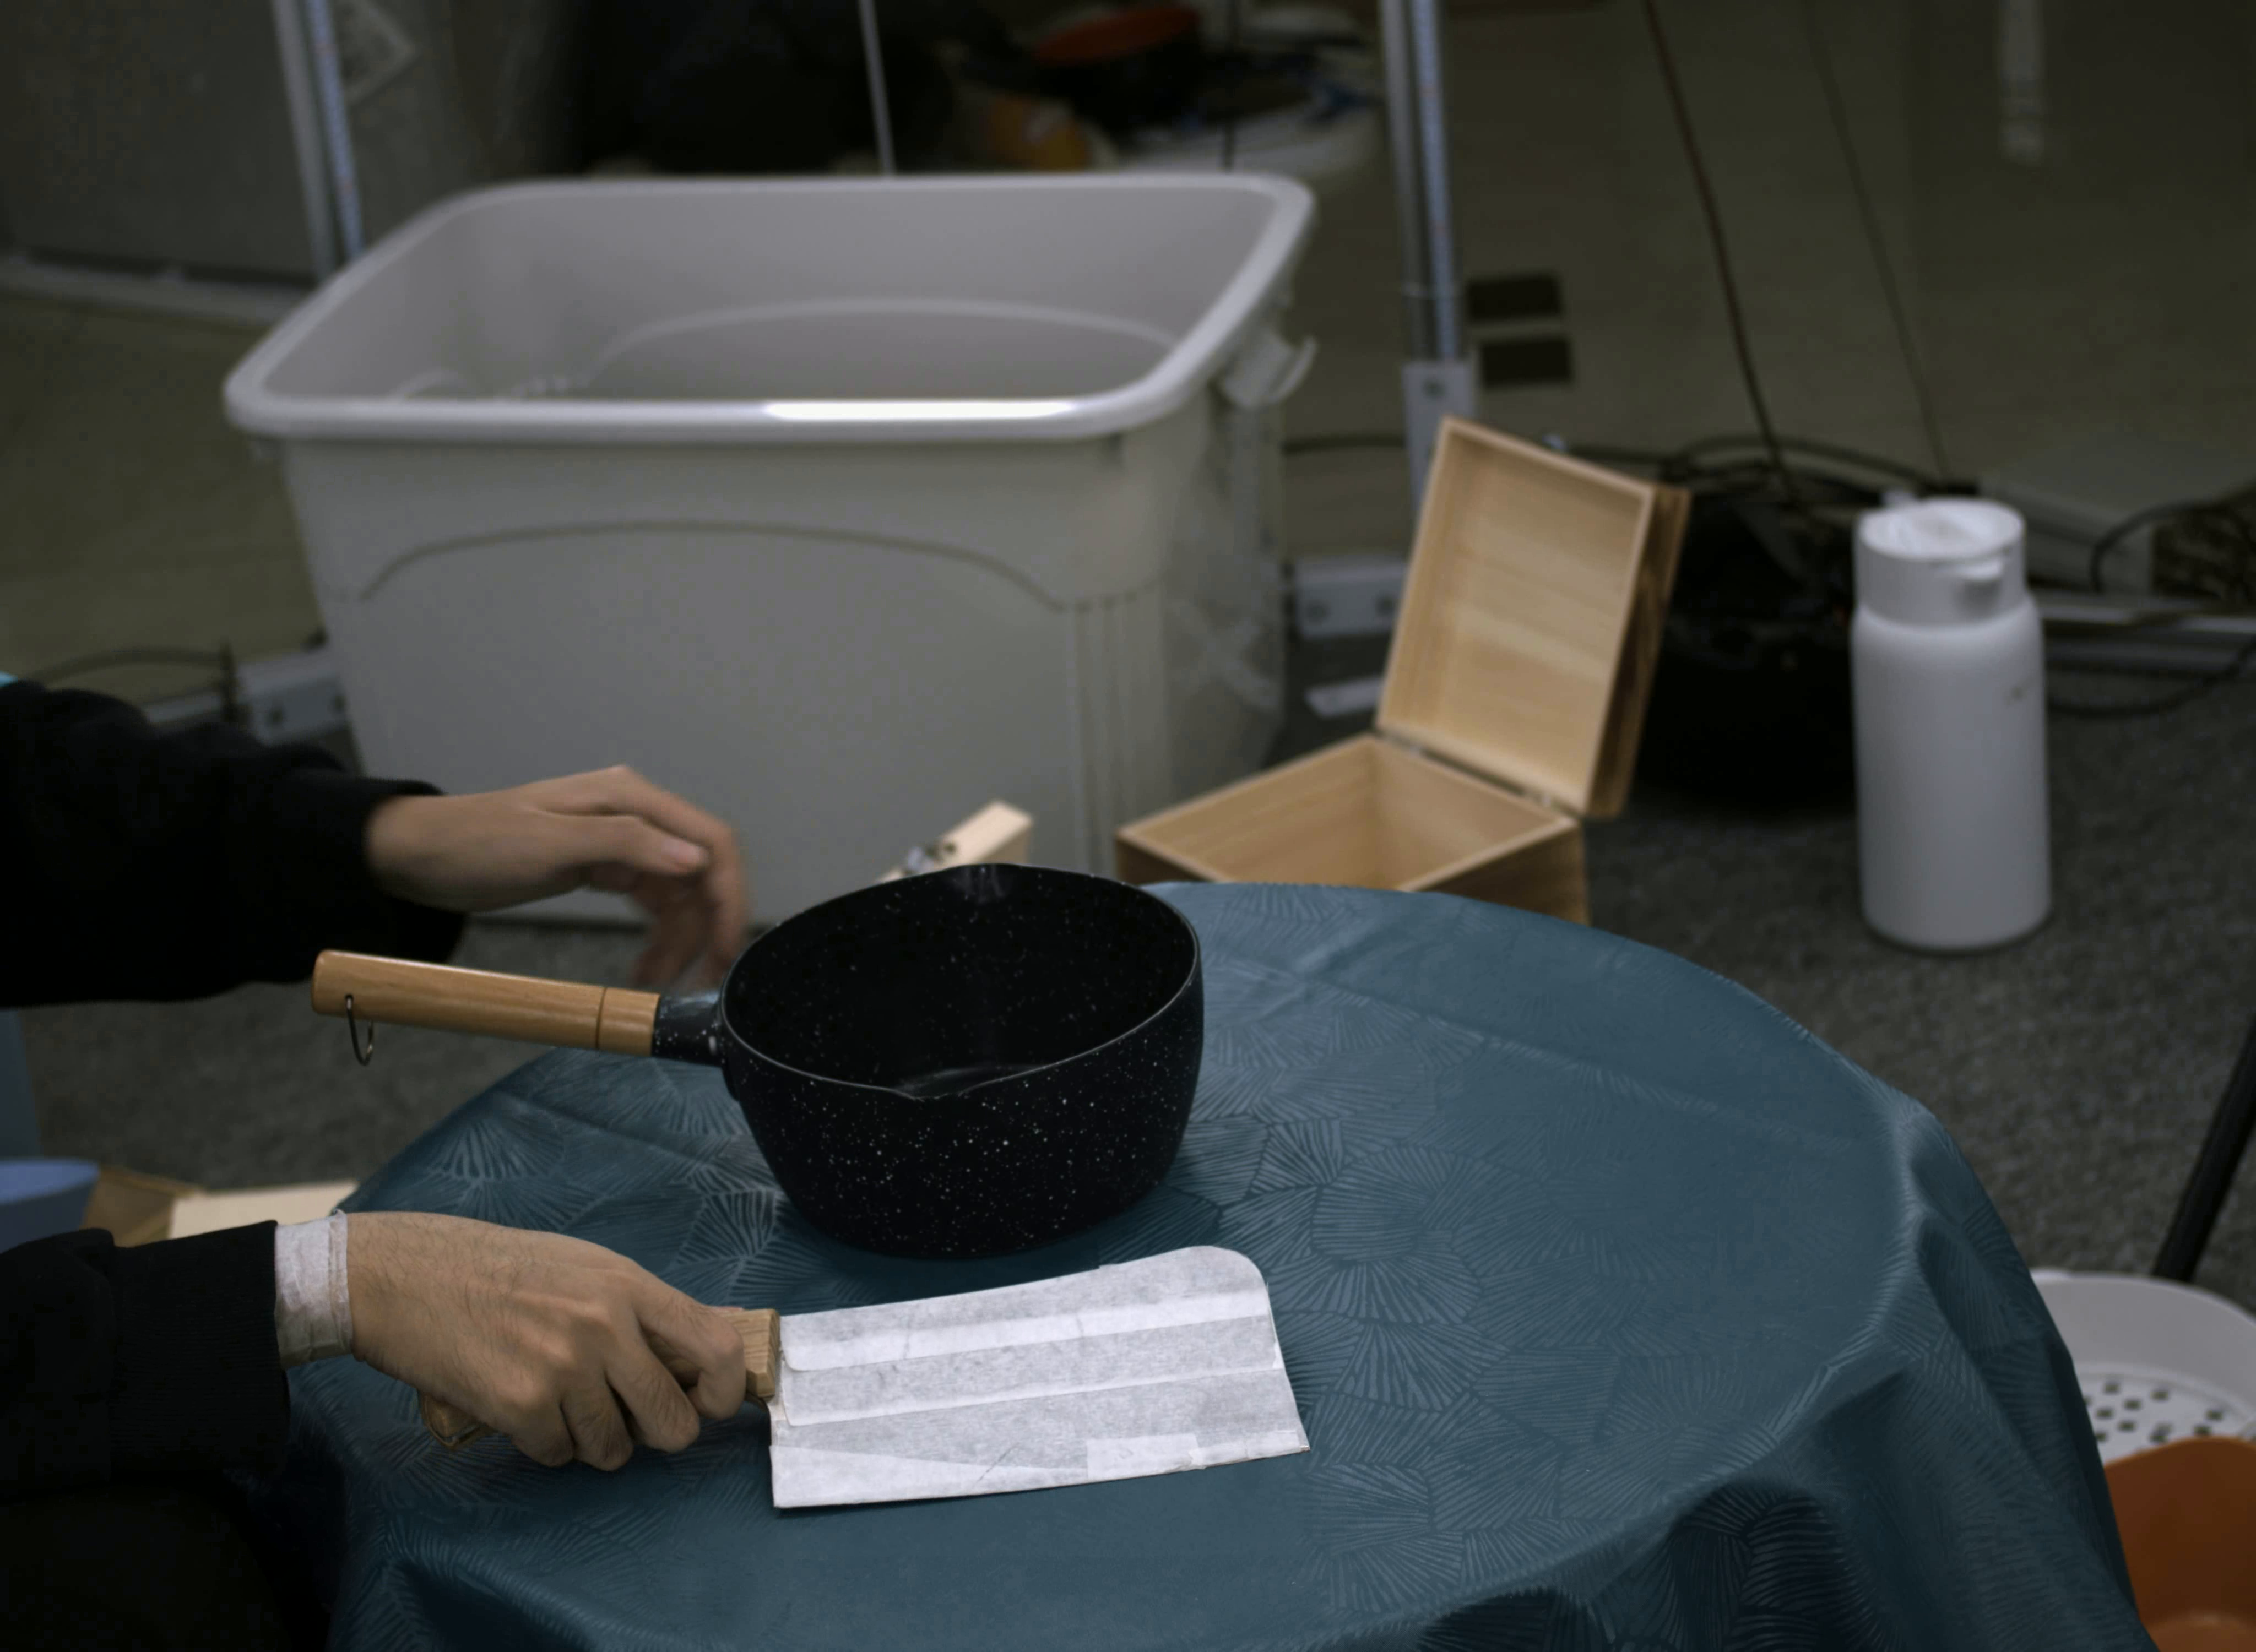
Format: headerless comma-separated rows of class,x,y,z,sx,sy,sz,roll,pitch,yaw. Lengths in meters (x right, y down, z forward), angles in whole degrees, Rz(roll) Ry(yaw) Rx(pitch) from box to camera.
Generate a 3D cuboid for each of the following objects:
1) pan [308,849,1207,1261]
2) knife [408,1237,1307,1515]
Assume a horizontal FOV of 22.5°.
pan,-0.139,0.087,2.160,0.342,0.110,0.204,-3,26,4
knife,-0.096,0.196,1.997,0.315,0.022,0.112,-4,46,0
